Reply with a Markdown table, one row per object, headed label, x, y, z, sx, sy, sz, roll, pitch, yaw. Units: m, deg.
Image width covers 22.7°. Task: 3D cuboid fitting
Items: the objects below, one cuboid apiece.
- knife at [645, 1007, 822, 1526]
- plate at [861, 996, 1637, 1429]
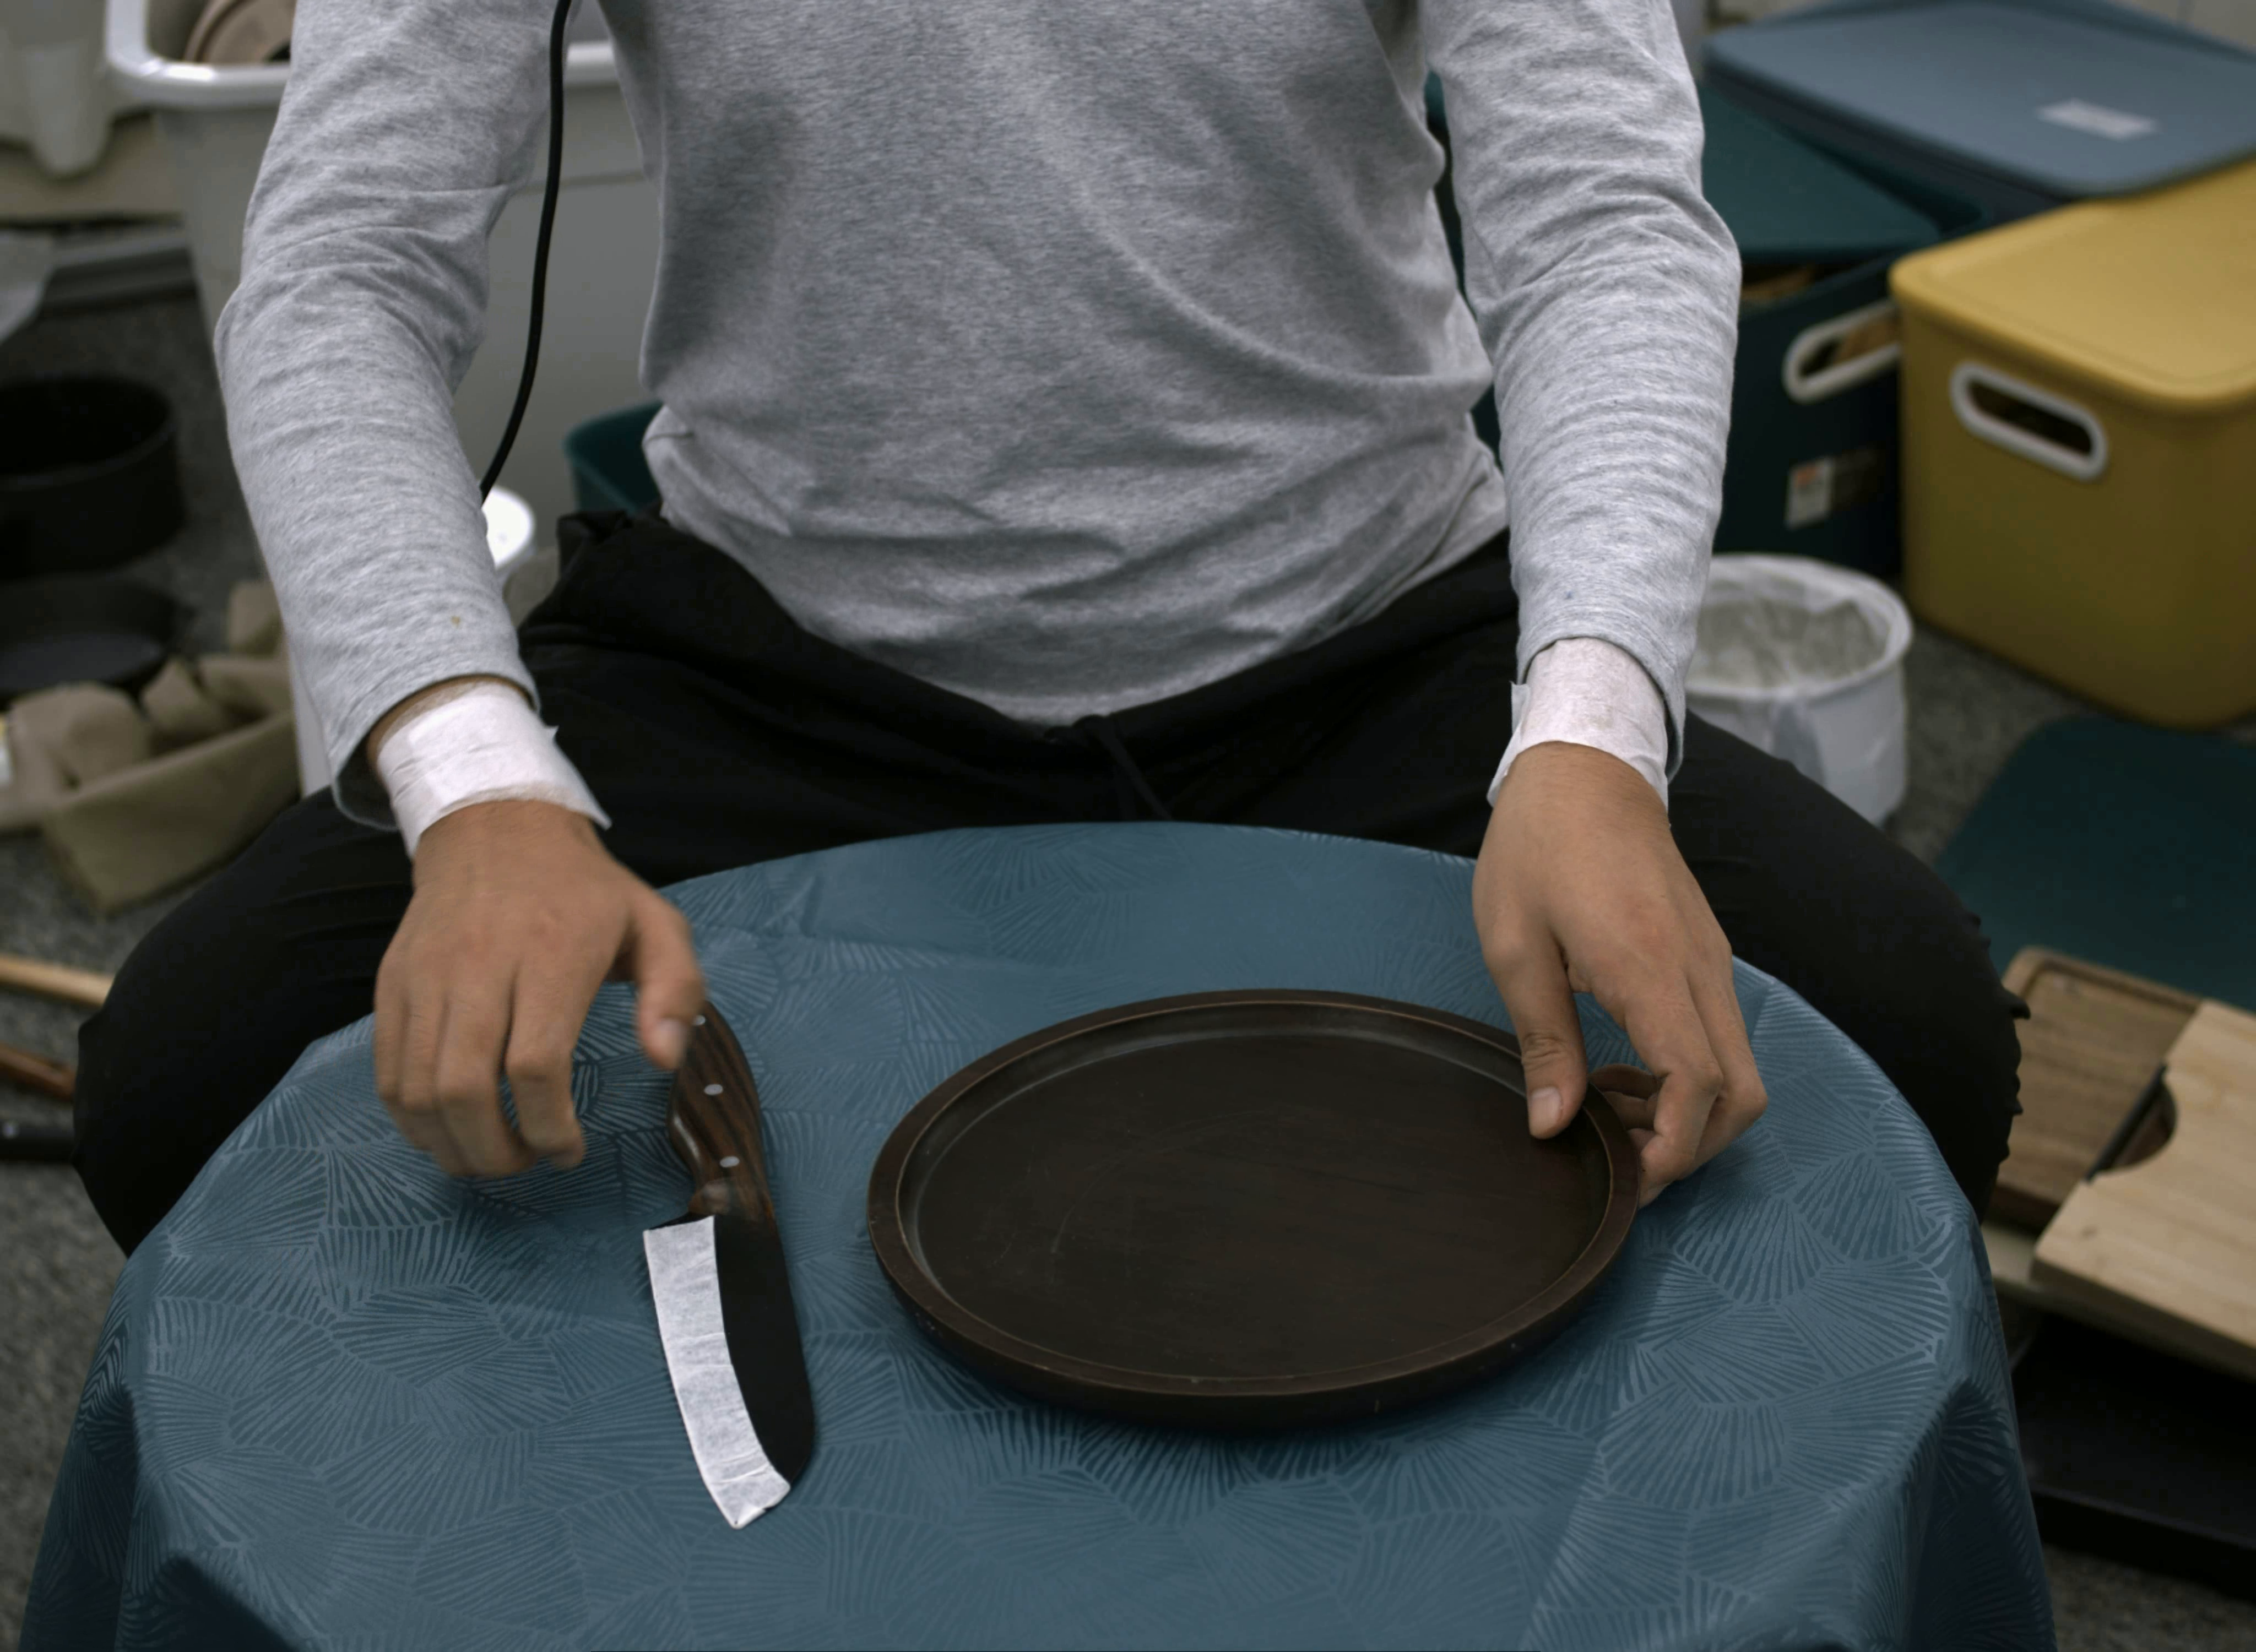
| label | x | y | z | sx | sy | sz | roll | pitch | yaw |
| --- | --- | --- | --- | --- | --- | --- | --- | --- | --- |
| knife | -0.132 | 0.141 | 1.821 | 0.050 | 0.020 | 0.293 | -10 | 30 | -3 |
| plate | 0.040 | 0.123 | 1.828 | 0.253 | 0.029 | 0.258 | -4 | 26 | 2 |
